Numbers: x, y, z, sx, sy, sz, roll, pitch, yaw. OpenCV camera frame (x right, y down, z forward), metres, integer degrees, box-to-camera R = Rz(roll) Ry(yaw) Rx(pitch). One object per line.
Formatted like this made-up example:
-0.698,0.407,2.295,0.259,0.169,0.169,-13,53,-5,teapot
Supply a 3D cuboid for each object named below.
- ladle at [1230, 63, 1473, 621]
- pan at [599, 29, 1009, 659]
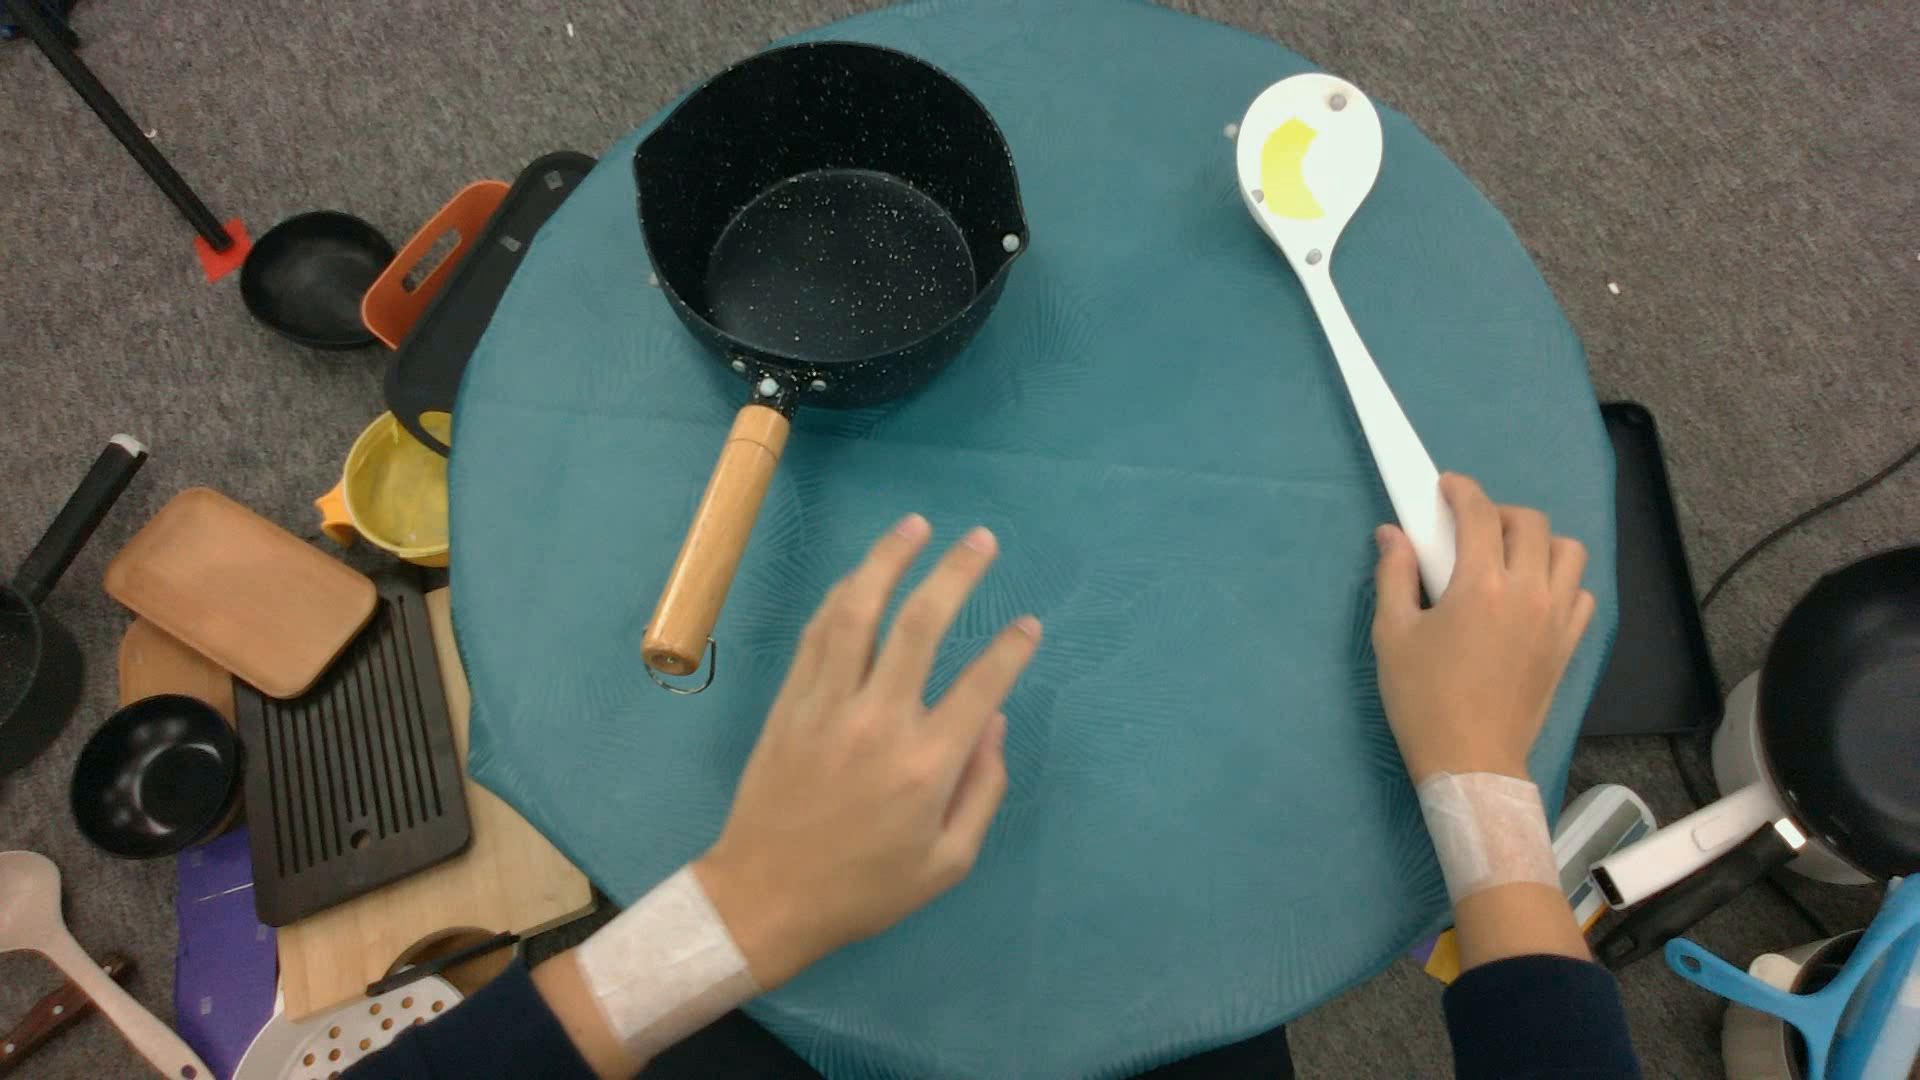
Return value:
0.208,-0.106,0.709,0.090,0.069,0.293,-4,68,-28,ladle
-0.092,-0.091,0.668,0.207,0.108,0.344,12,68,2,pan
